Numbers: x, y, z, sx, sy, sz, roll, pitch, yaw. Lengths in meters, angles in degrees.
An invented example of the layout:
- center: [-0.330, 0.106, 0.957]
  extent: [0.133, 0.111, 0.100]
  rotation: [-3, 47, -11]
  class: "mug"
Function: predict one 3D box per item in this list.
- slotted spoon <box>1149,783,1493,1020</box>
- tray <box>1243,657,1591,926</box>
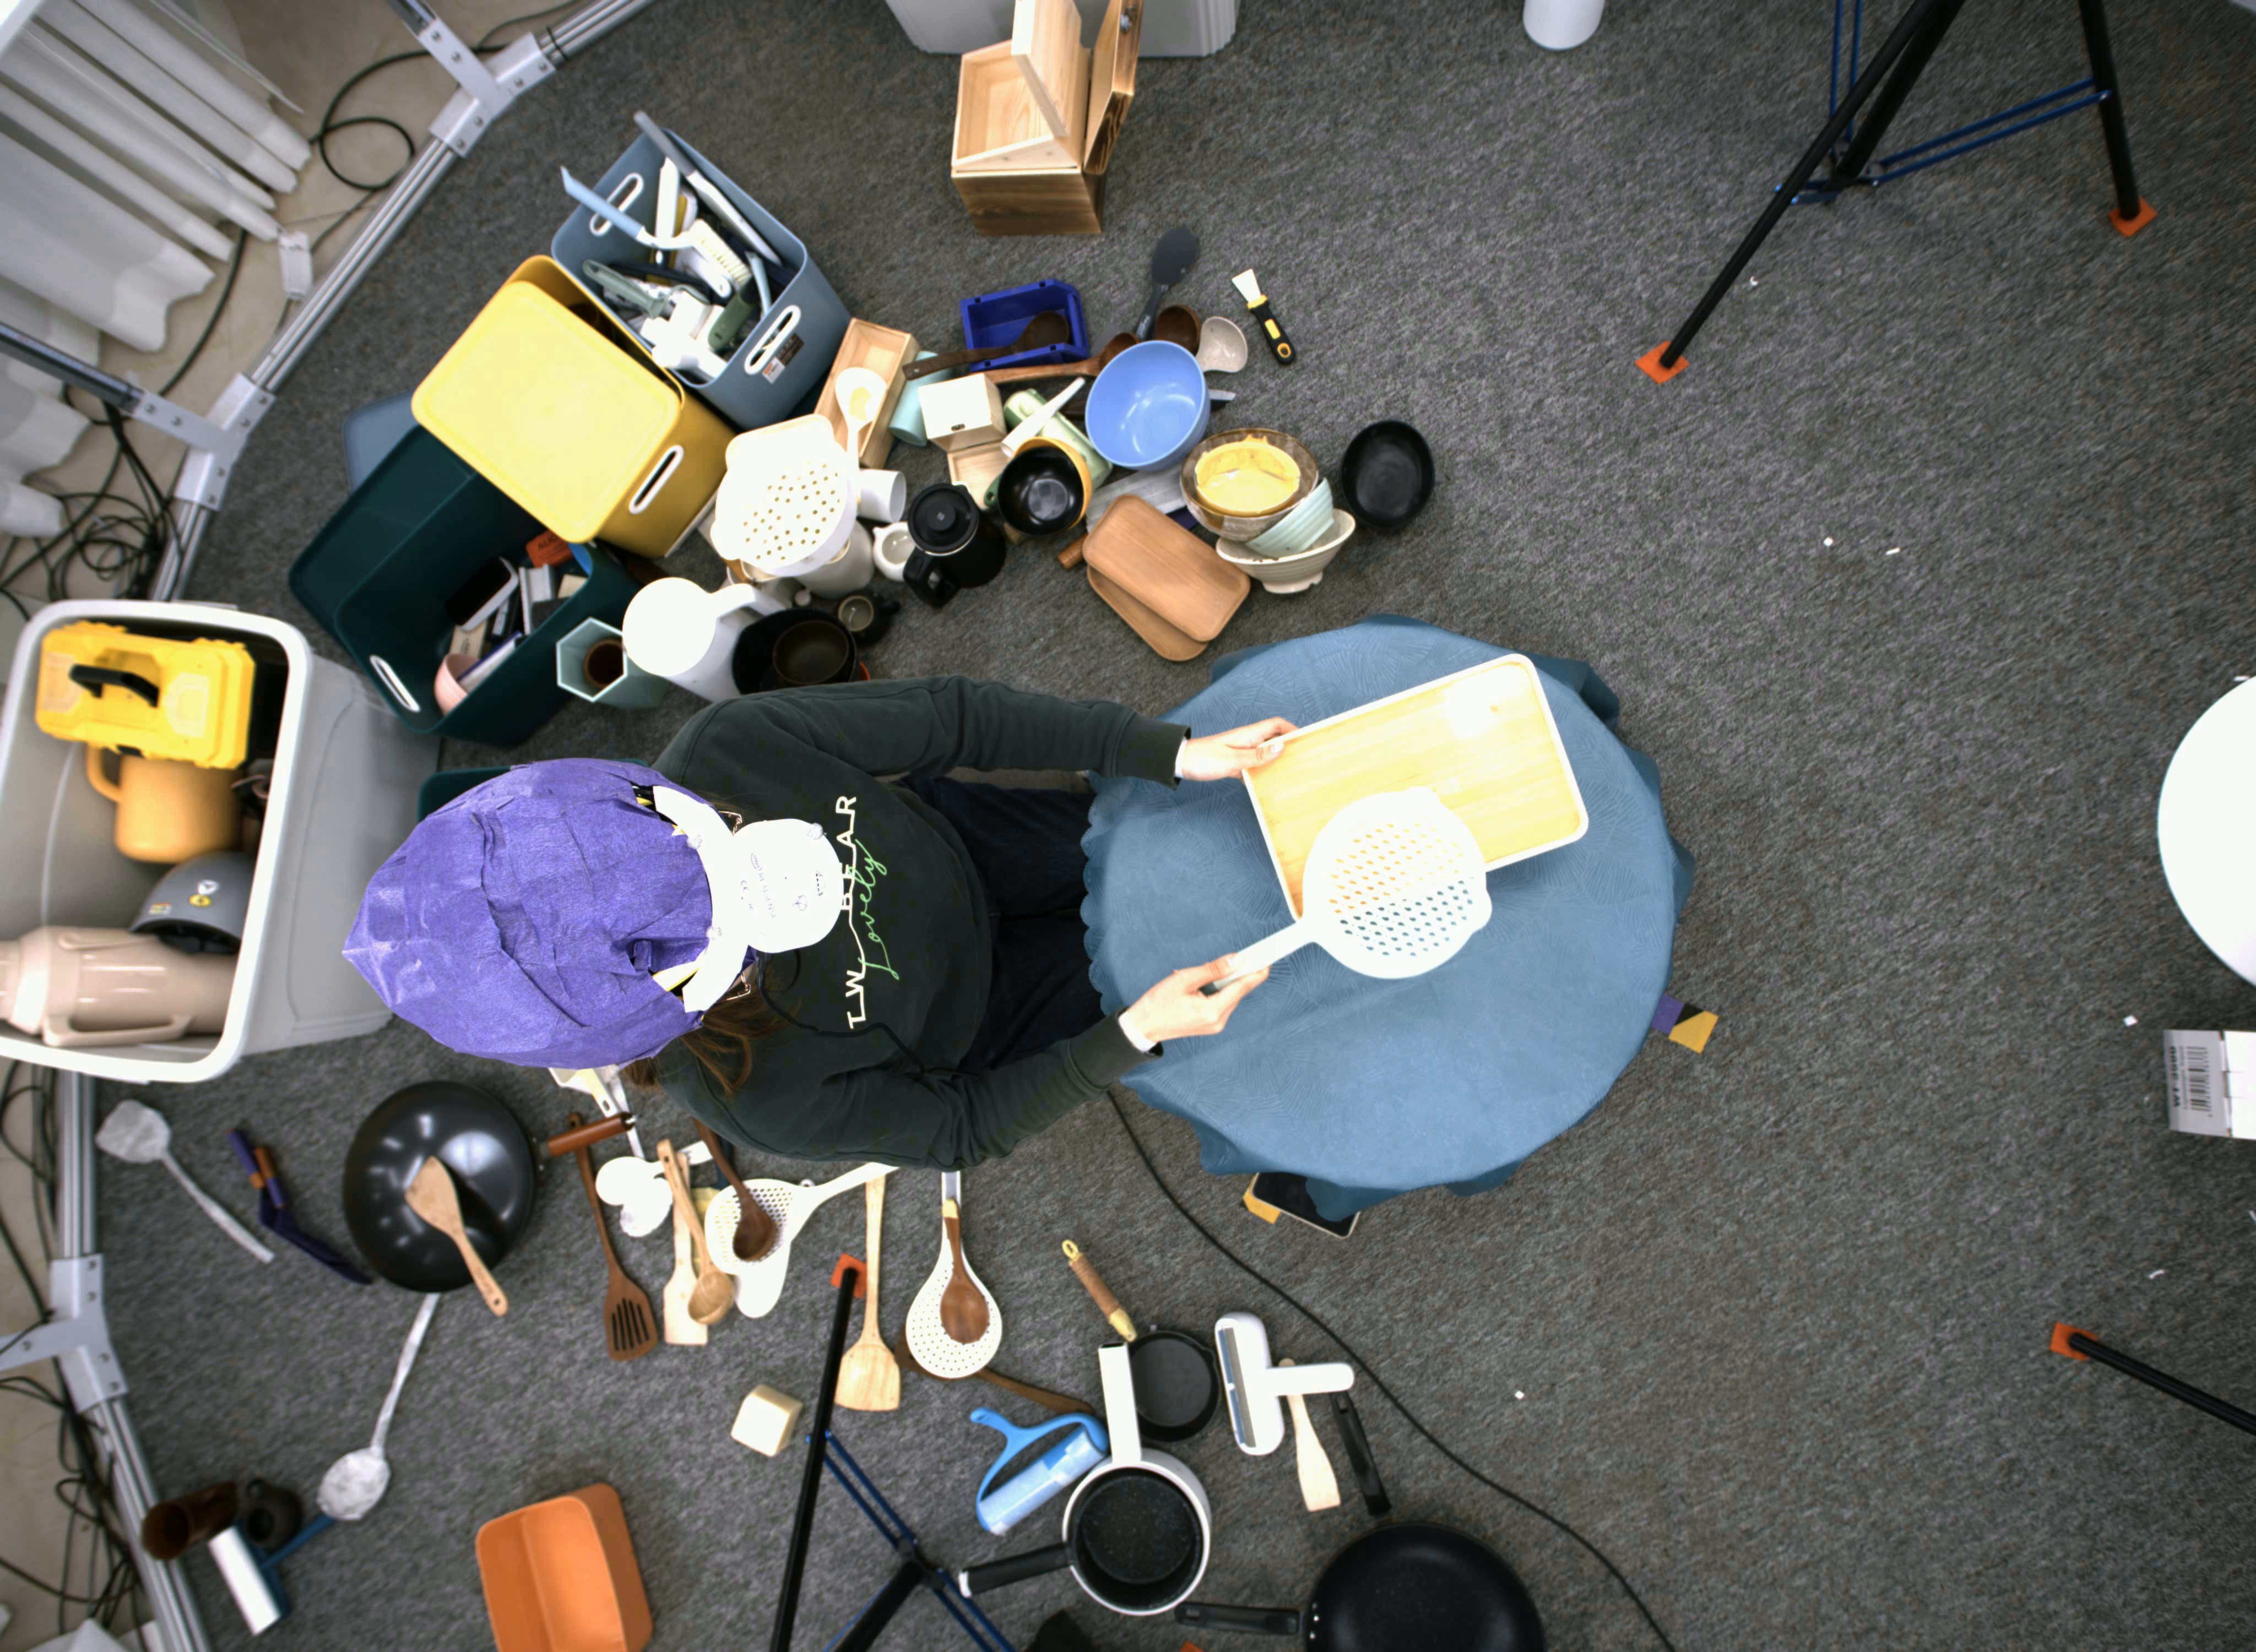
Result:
- center: [0.169, 0.098, 1.314]
  extent: [0.361, 0.076, 0.167]
  rotation: [-27, 69, 11]
  class: "slotted spoon"
- center: [0.281, -0.032, 1.355]
  extent: [0.302, 0.027, 0.191]
  rotation: [-19, 89, 11]
  class: "tray"
